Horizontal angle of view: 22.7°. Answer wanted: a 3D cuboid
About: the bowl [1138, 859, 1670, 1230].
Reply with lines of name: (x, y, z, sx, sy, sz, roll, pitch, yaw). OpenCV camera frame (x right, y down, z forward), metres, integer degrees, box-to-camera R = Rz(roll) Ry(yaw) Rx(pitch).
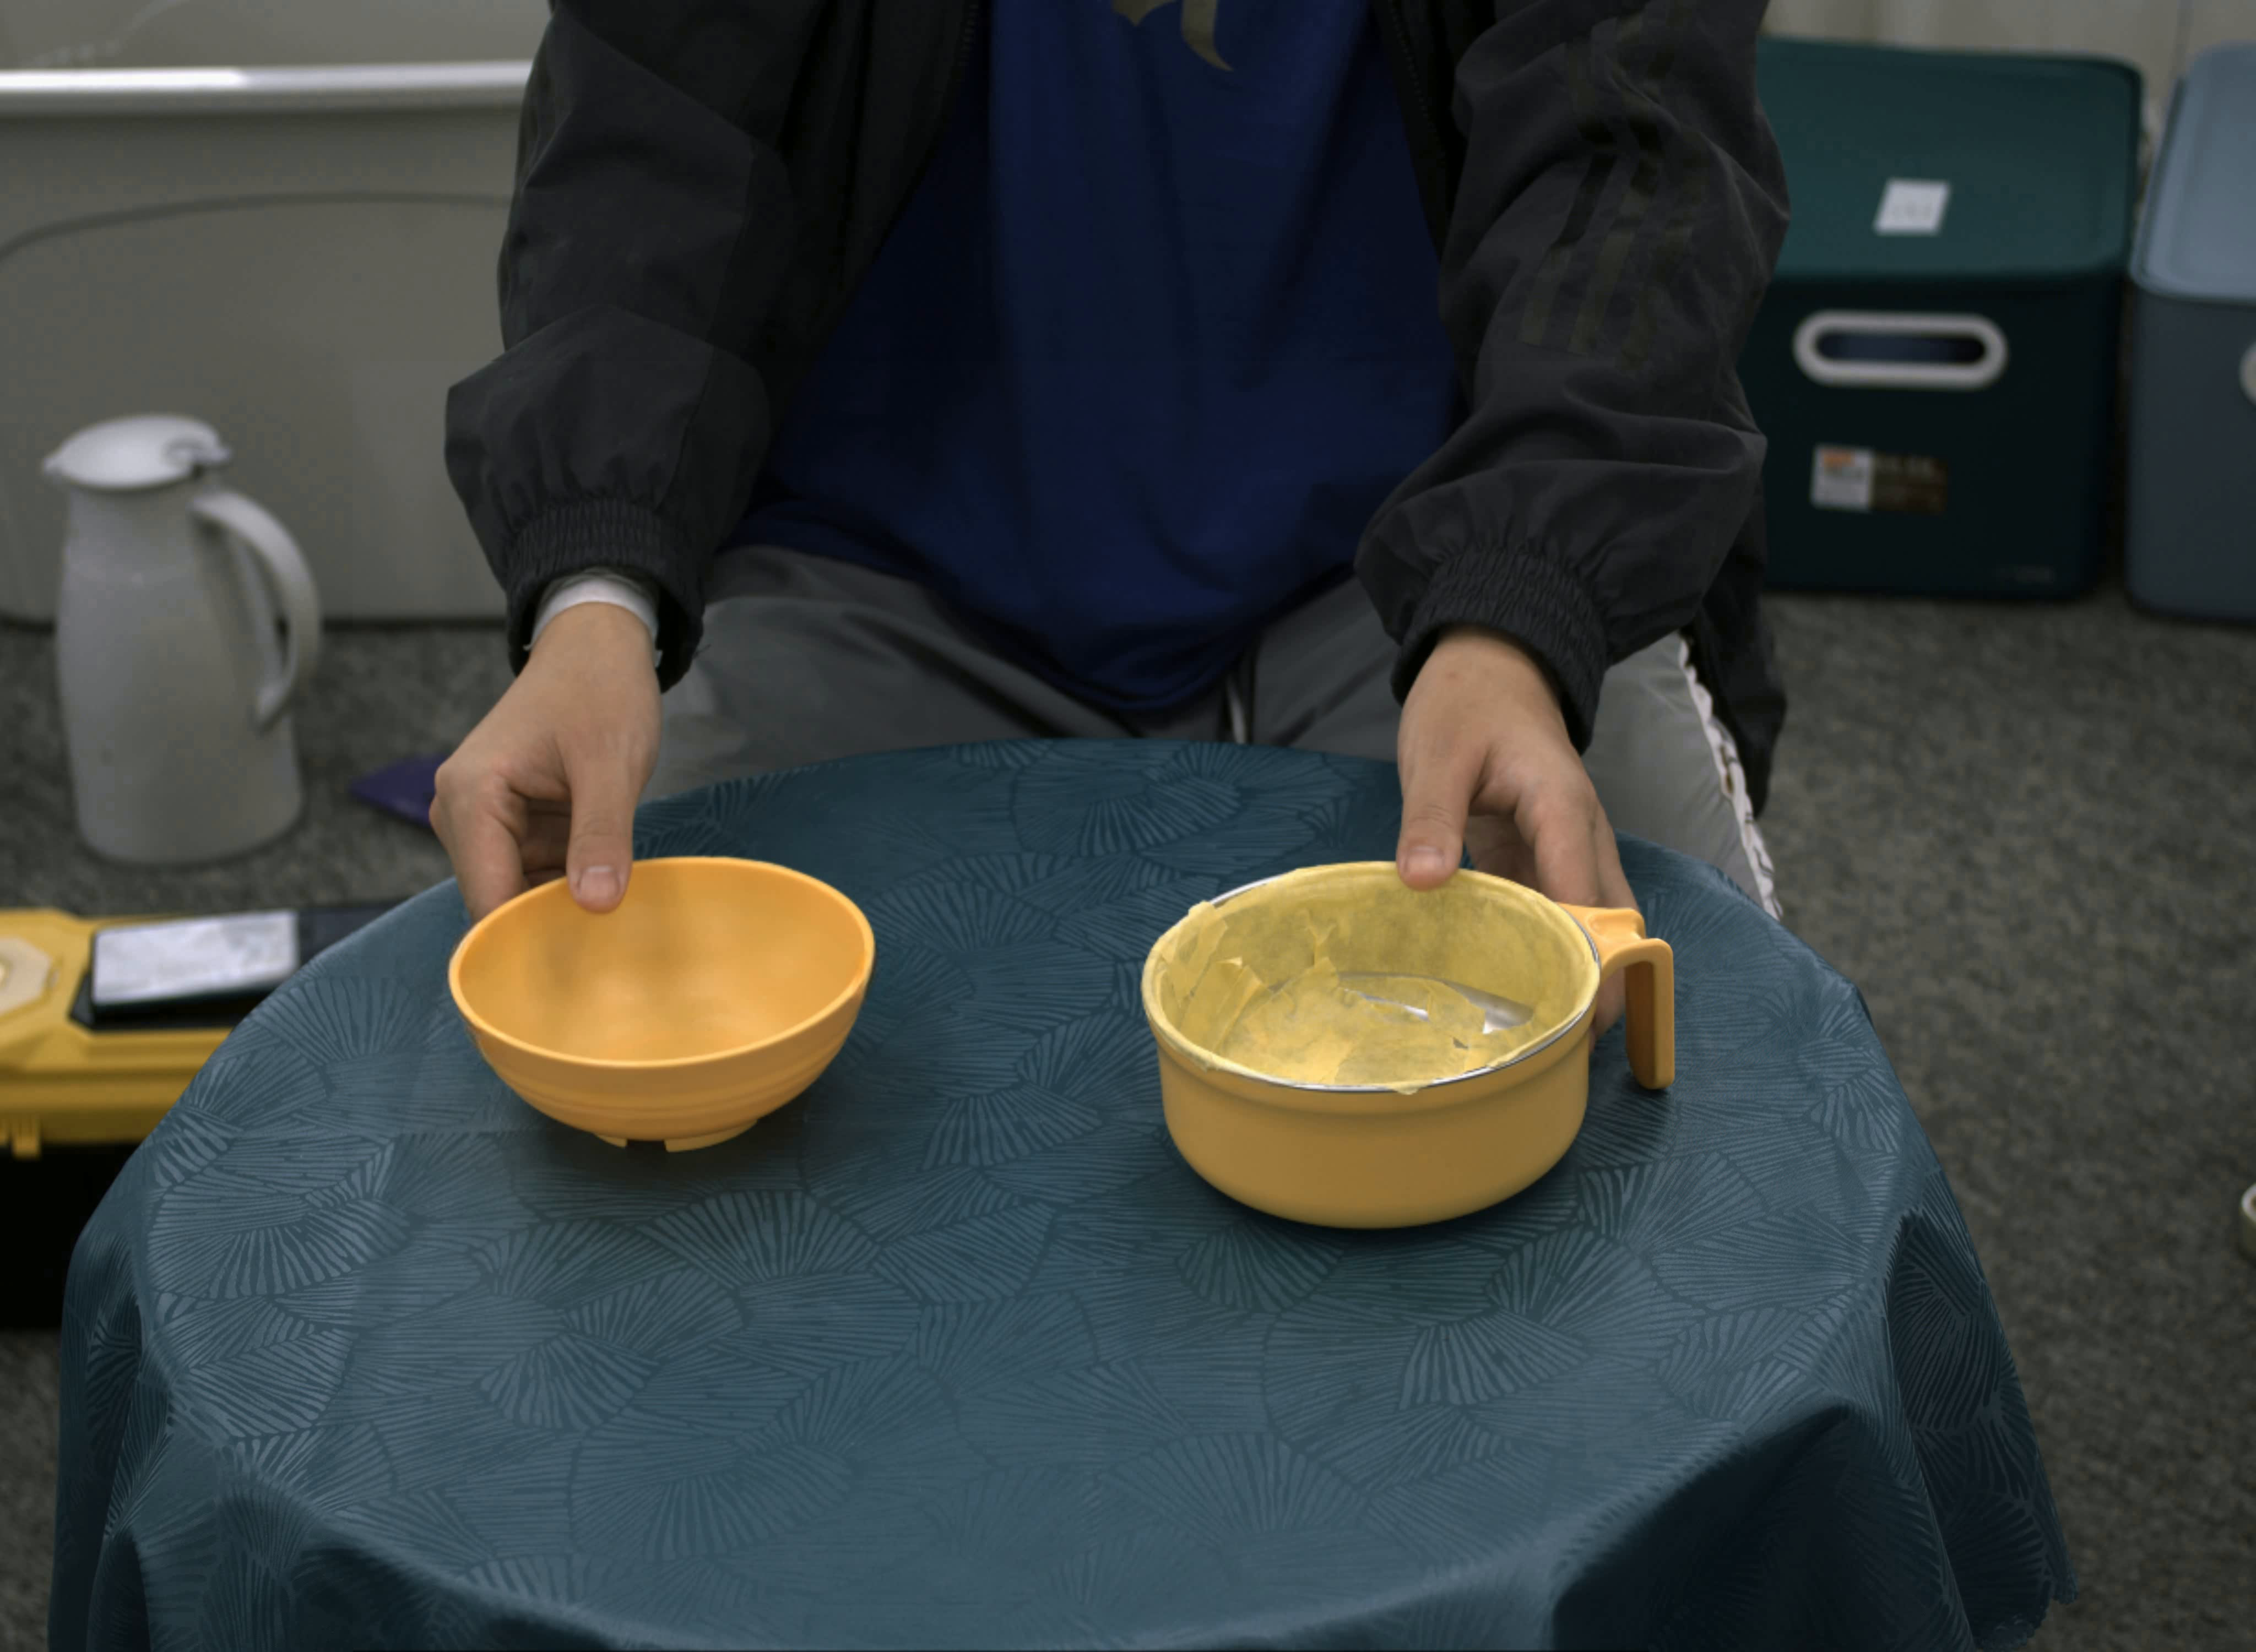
bowl: (0.094, 0.074, 1.870, 0.180, 0.073, 0.154, -14, 26, -18)

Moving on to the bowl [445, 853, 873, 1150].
bowl: (-0.159, 0.069, 1.915, 0.144, 0.059, 0.147, 0, 28, 0)
